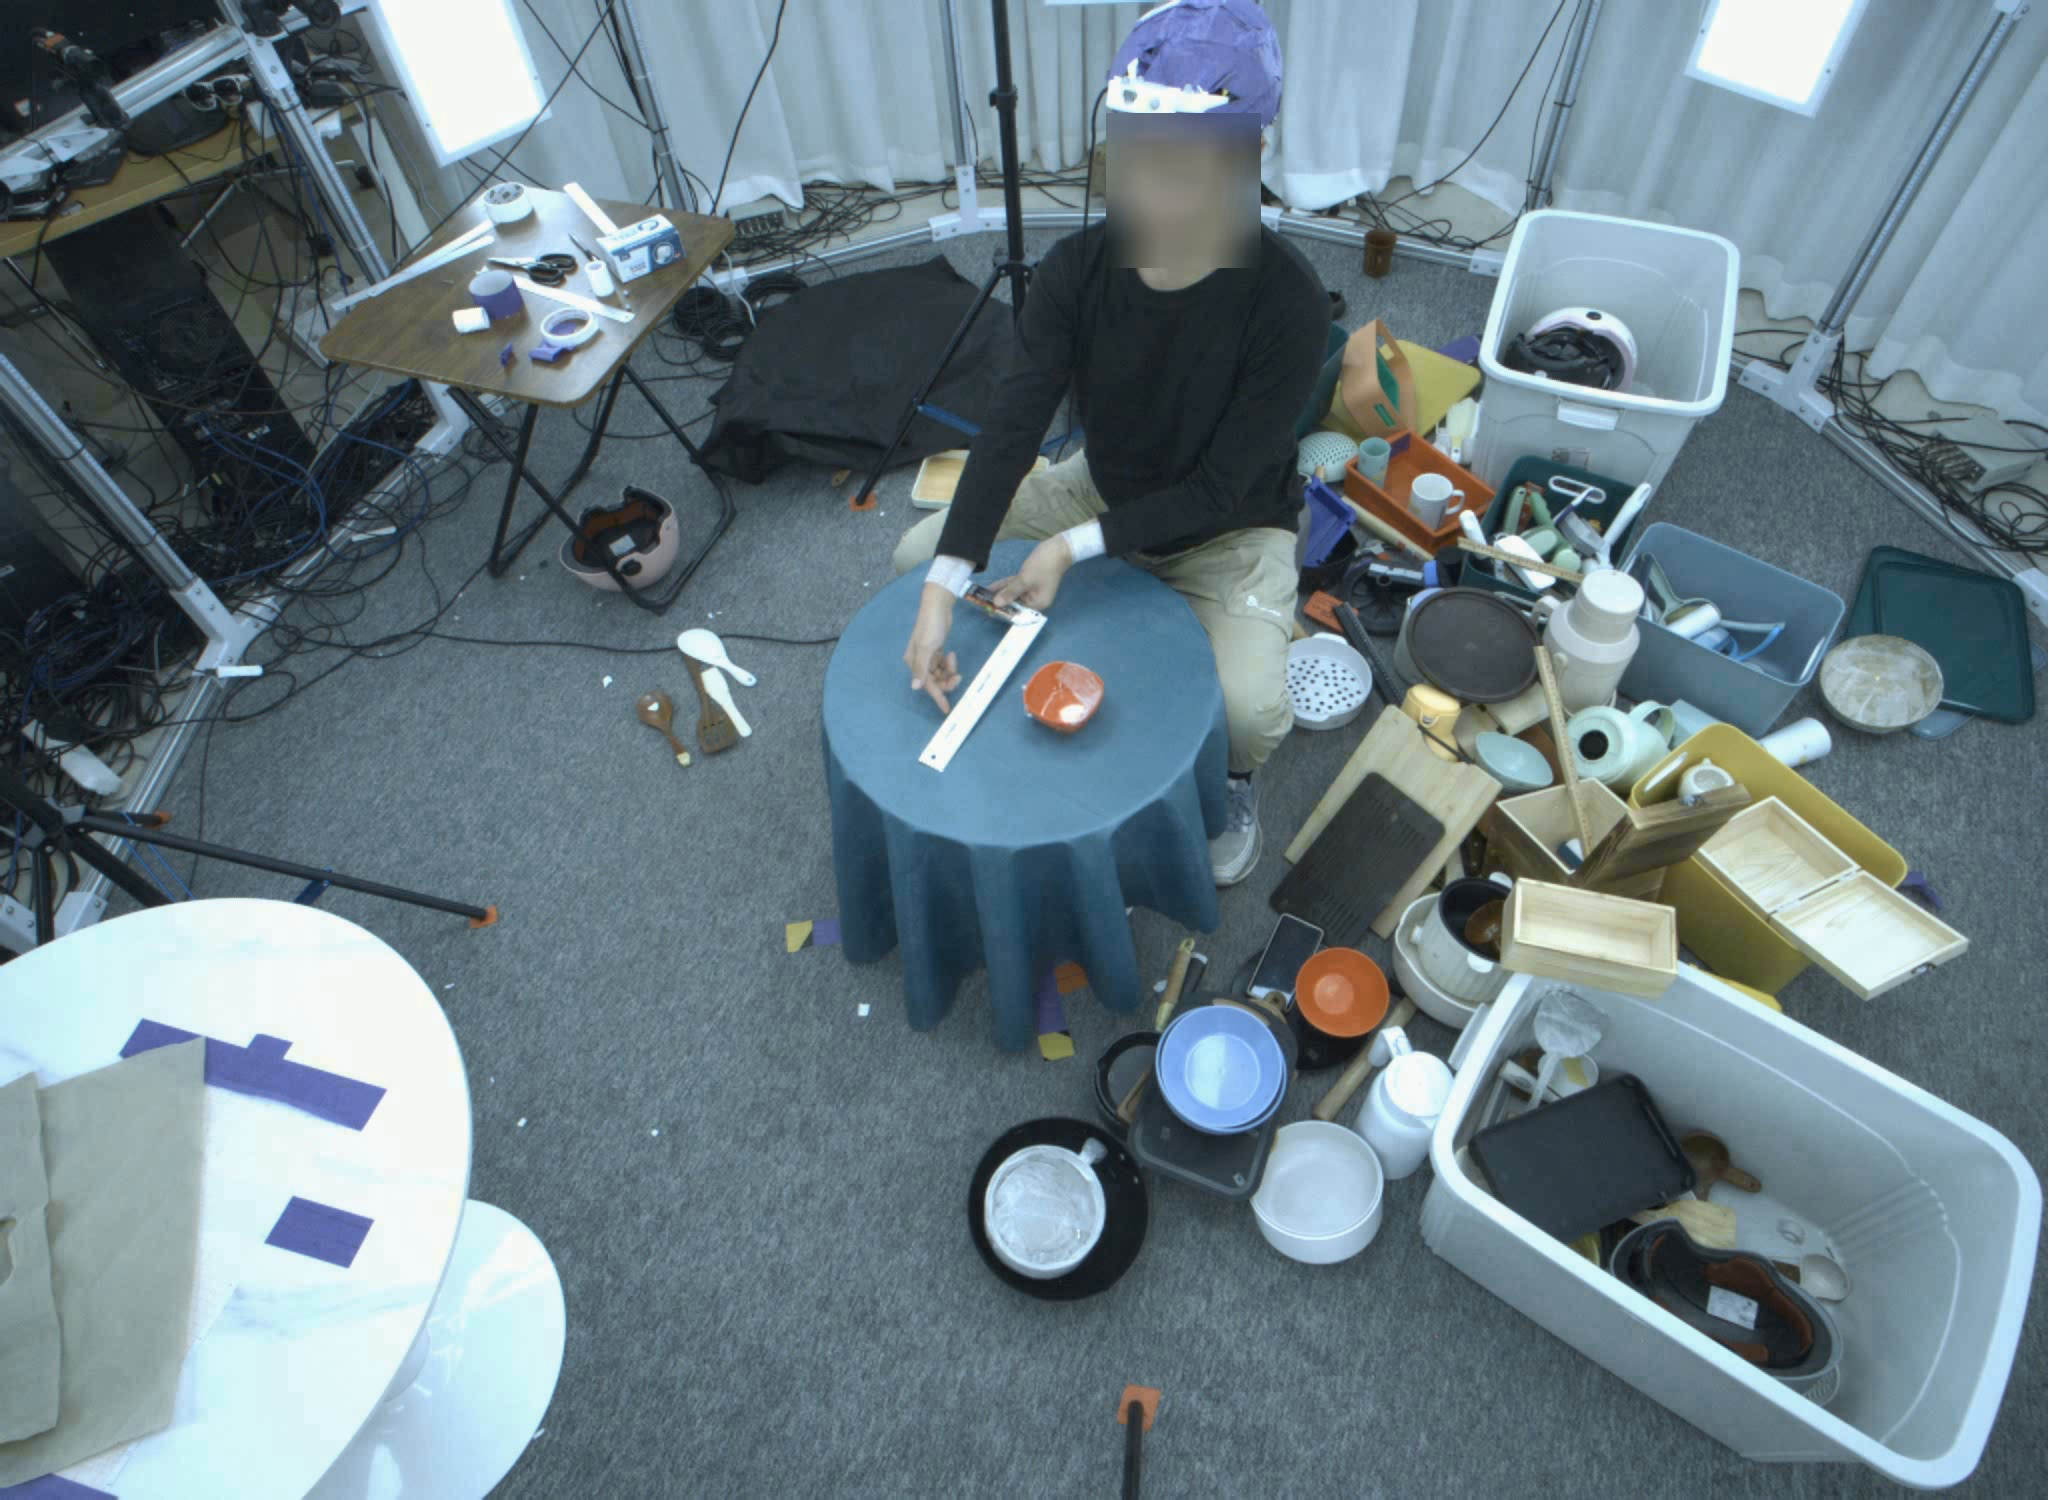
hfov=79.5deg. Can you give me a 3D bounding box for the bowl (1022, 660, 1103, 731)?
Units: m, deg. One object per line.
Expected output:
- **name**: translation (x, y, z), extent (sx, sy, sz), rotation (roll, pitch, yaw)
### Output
- **bowl**: translation (0.058, -0.071, 1.802), extent (0.118, 0.052, 0.118), rotation (-2, 57, 5)

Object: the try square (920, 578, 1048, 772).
- **try square**: translation (-0.103, -0.119, 1.850), extent (0.151, 0.016, 0.313), rotation (27, 65, 12)
